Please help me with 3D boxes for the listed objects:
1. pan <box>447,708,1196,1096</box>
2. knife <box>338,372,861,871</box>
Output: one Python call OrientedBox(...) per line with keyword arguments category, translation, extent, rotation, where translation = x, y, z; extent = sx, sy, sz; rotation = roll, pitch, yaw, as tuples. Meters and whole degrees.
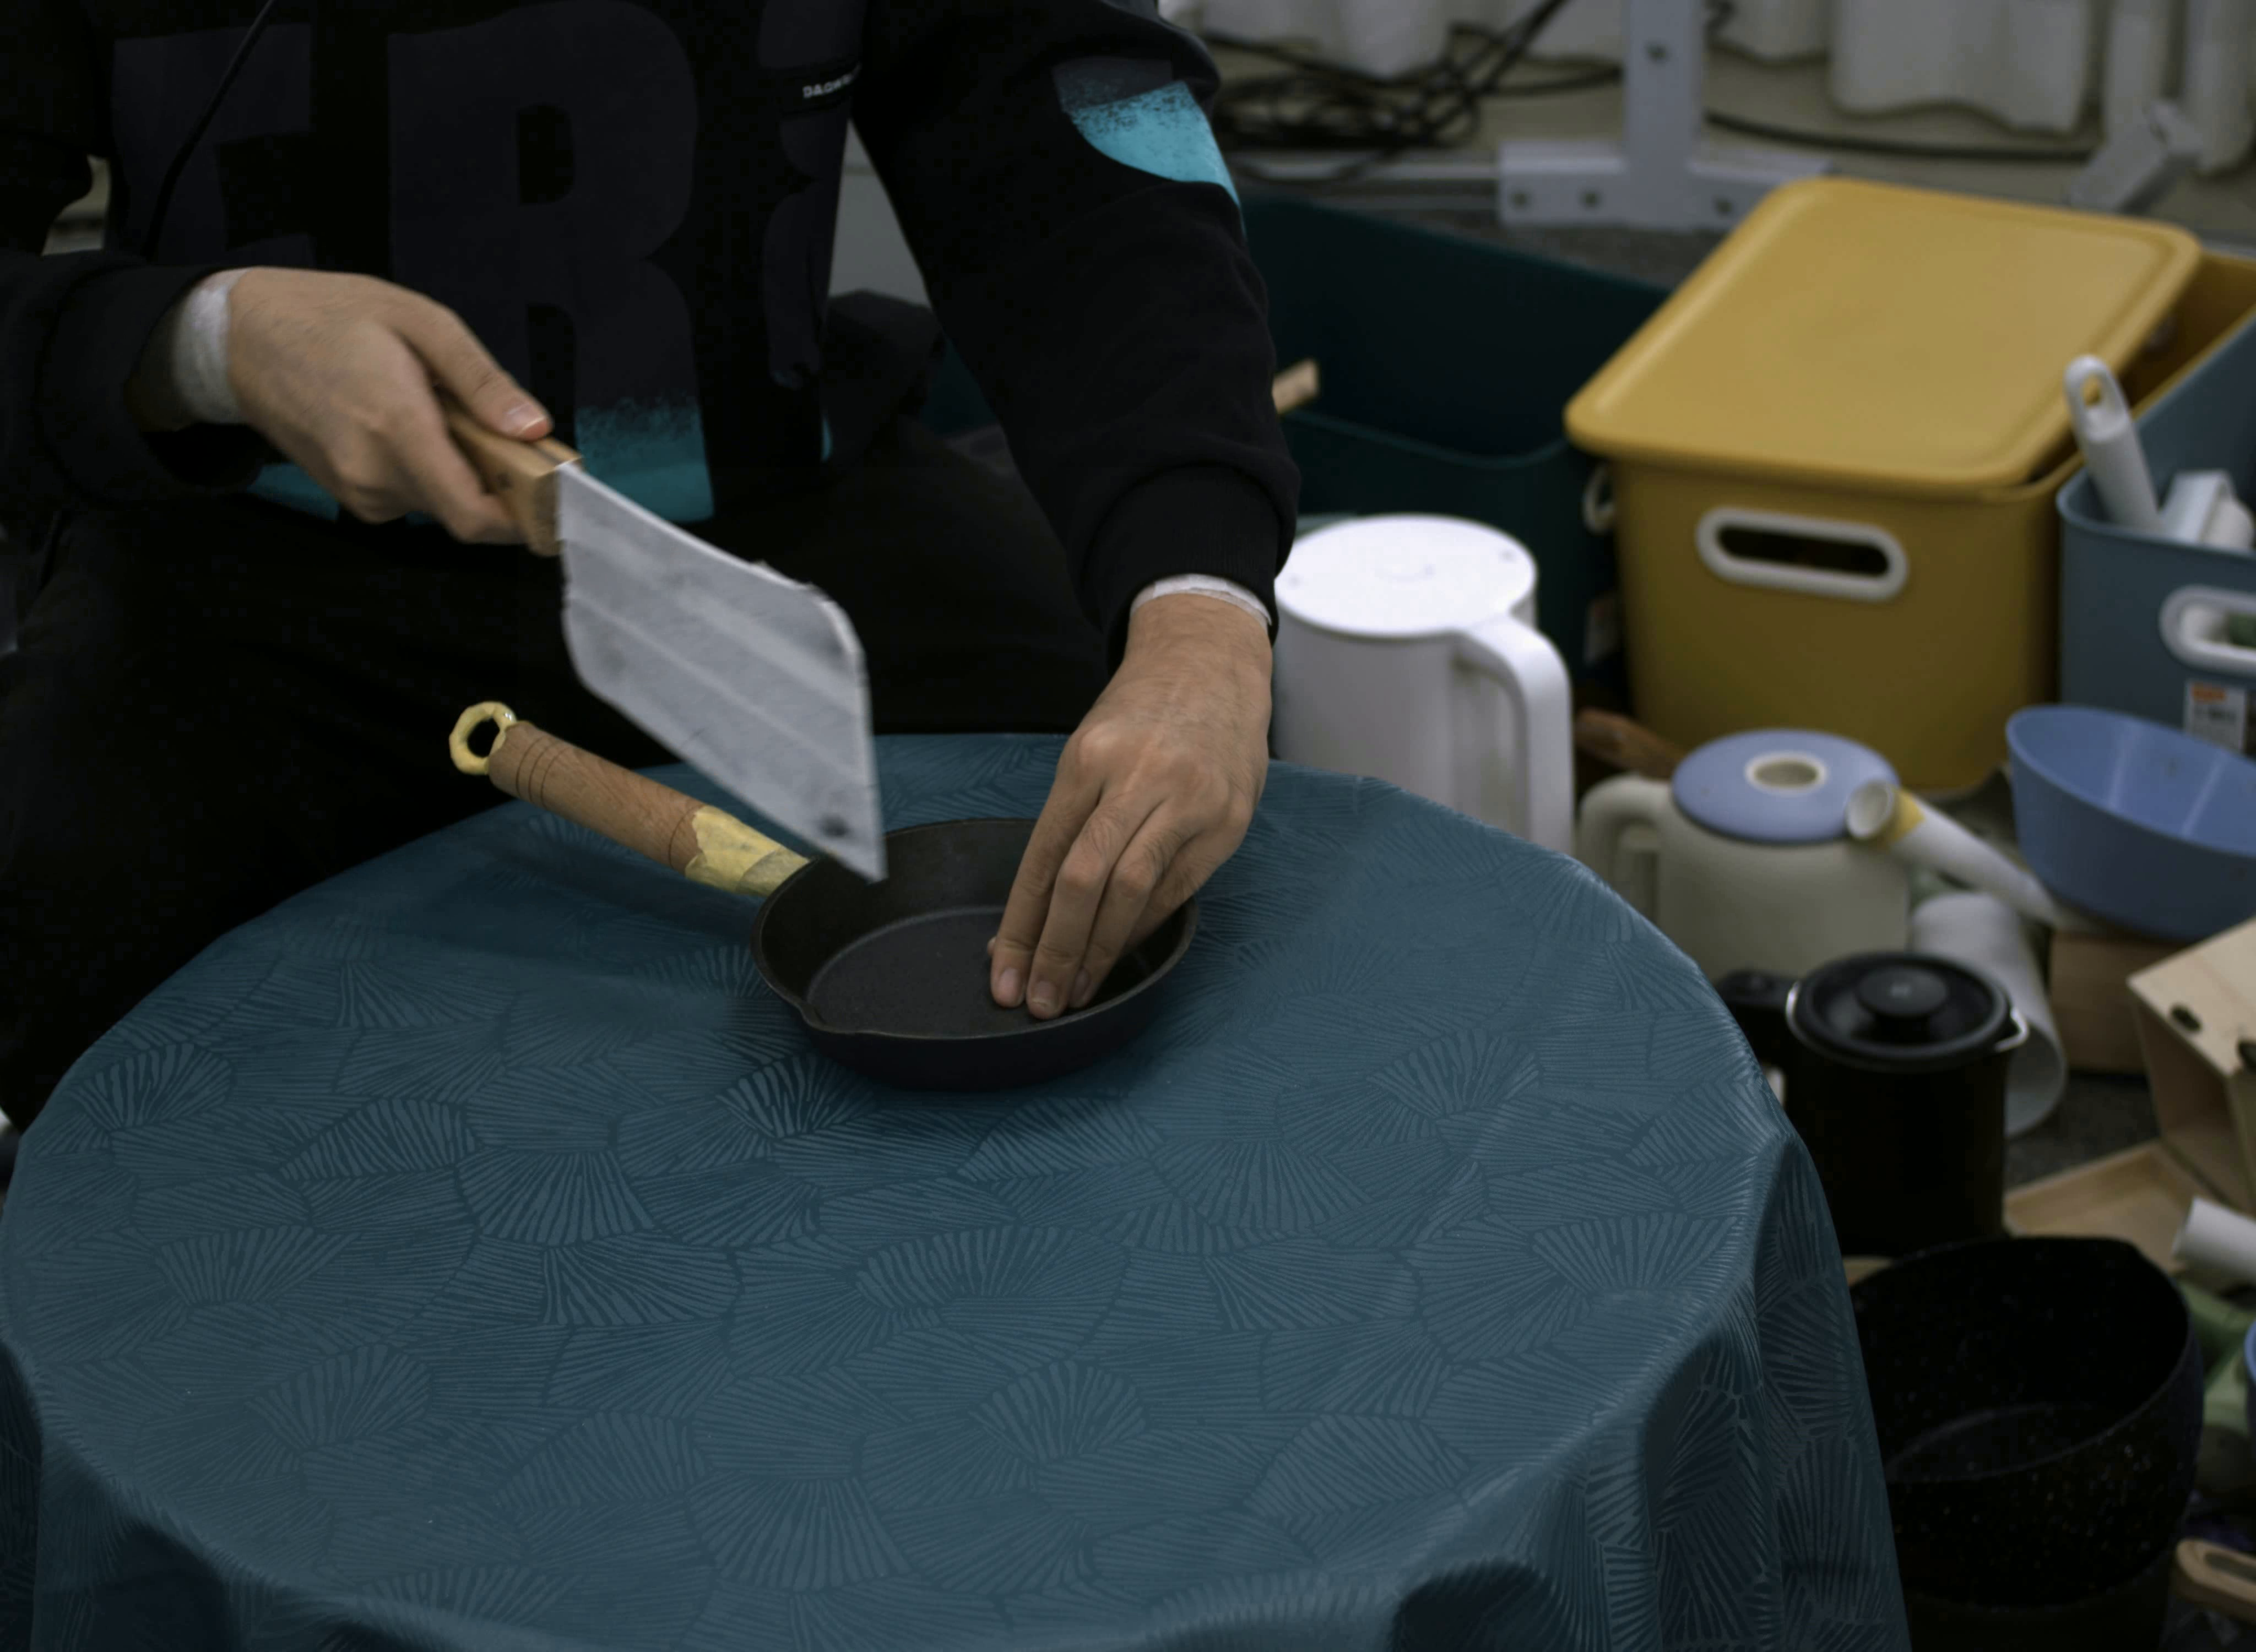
OrientedBox(category="pan", translation=(-0.120, 0.021, 2.015), extent=(0.323, 0.049, 0.171), rotation=(19, 35, 33))
OrientedBox(category="knife", translation=(-0.182, -0.085, 1.931), extent=(0.022, 0.112, 0.316), rotation=(-21, 38, -32))
